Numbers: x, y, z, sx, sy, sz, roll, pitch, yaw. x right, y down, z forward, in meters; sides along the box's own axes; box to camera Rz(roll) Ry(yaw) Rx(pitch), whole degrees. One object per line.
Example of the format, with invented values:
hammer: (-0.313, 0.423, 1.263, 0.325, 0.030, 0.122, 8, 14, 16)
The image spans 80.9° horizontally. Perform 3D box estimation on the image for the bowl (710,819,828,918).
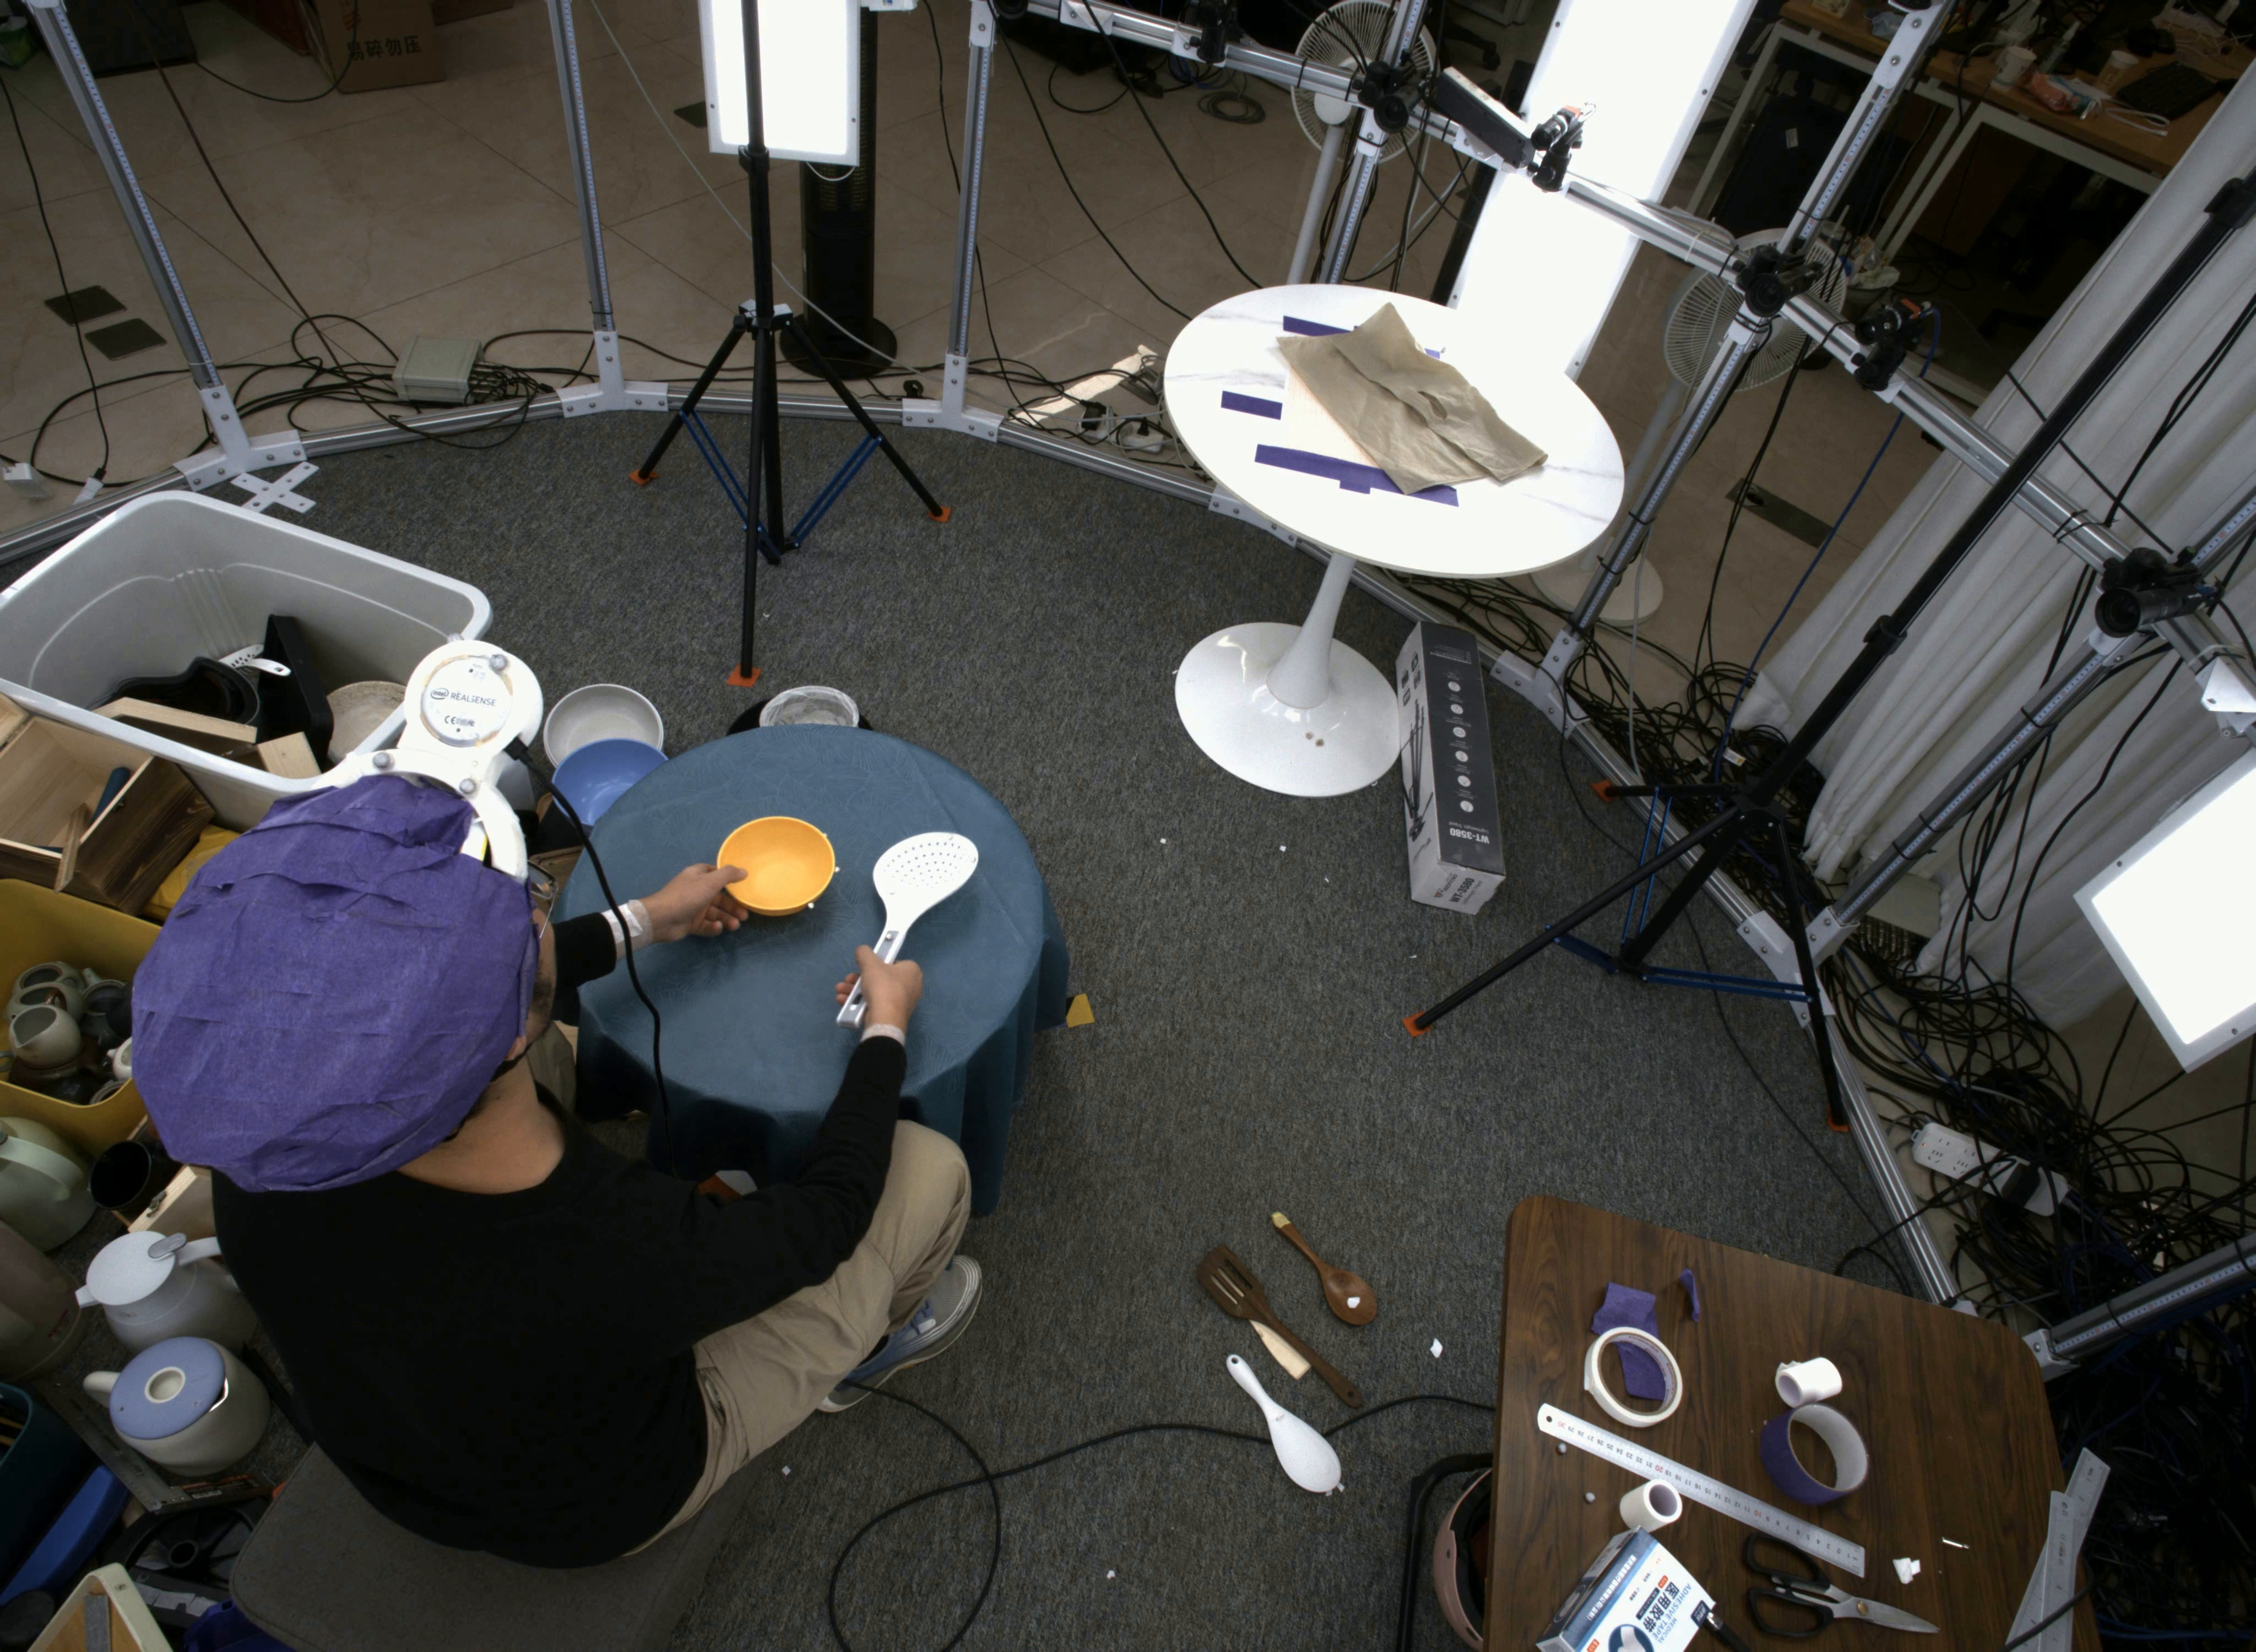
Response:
bowl: (-0.449, 0.063, 1.629, 0.145, 0.061, 0.142, 7, 51, -7)

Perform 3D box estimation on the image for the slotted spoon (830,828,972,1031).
slotted spoon: (-0.288, 0.117, 1.596, 0.133, 0.047, 0.345, 3, 35, 13)
